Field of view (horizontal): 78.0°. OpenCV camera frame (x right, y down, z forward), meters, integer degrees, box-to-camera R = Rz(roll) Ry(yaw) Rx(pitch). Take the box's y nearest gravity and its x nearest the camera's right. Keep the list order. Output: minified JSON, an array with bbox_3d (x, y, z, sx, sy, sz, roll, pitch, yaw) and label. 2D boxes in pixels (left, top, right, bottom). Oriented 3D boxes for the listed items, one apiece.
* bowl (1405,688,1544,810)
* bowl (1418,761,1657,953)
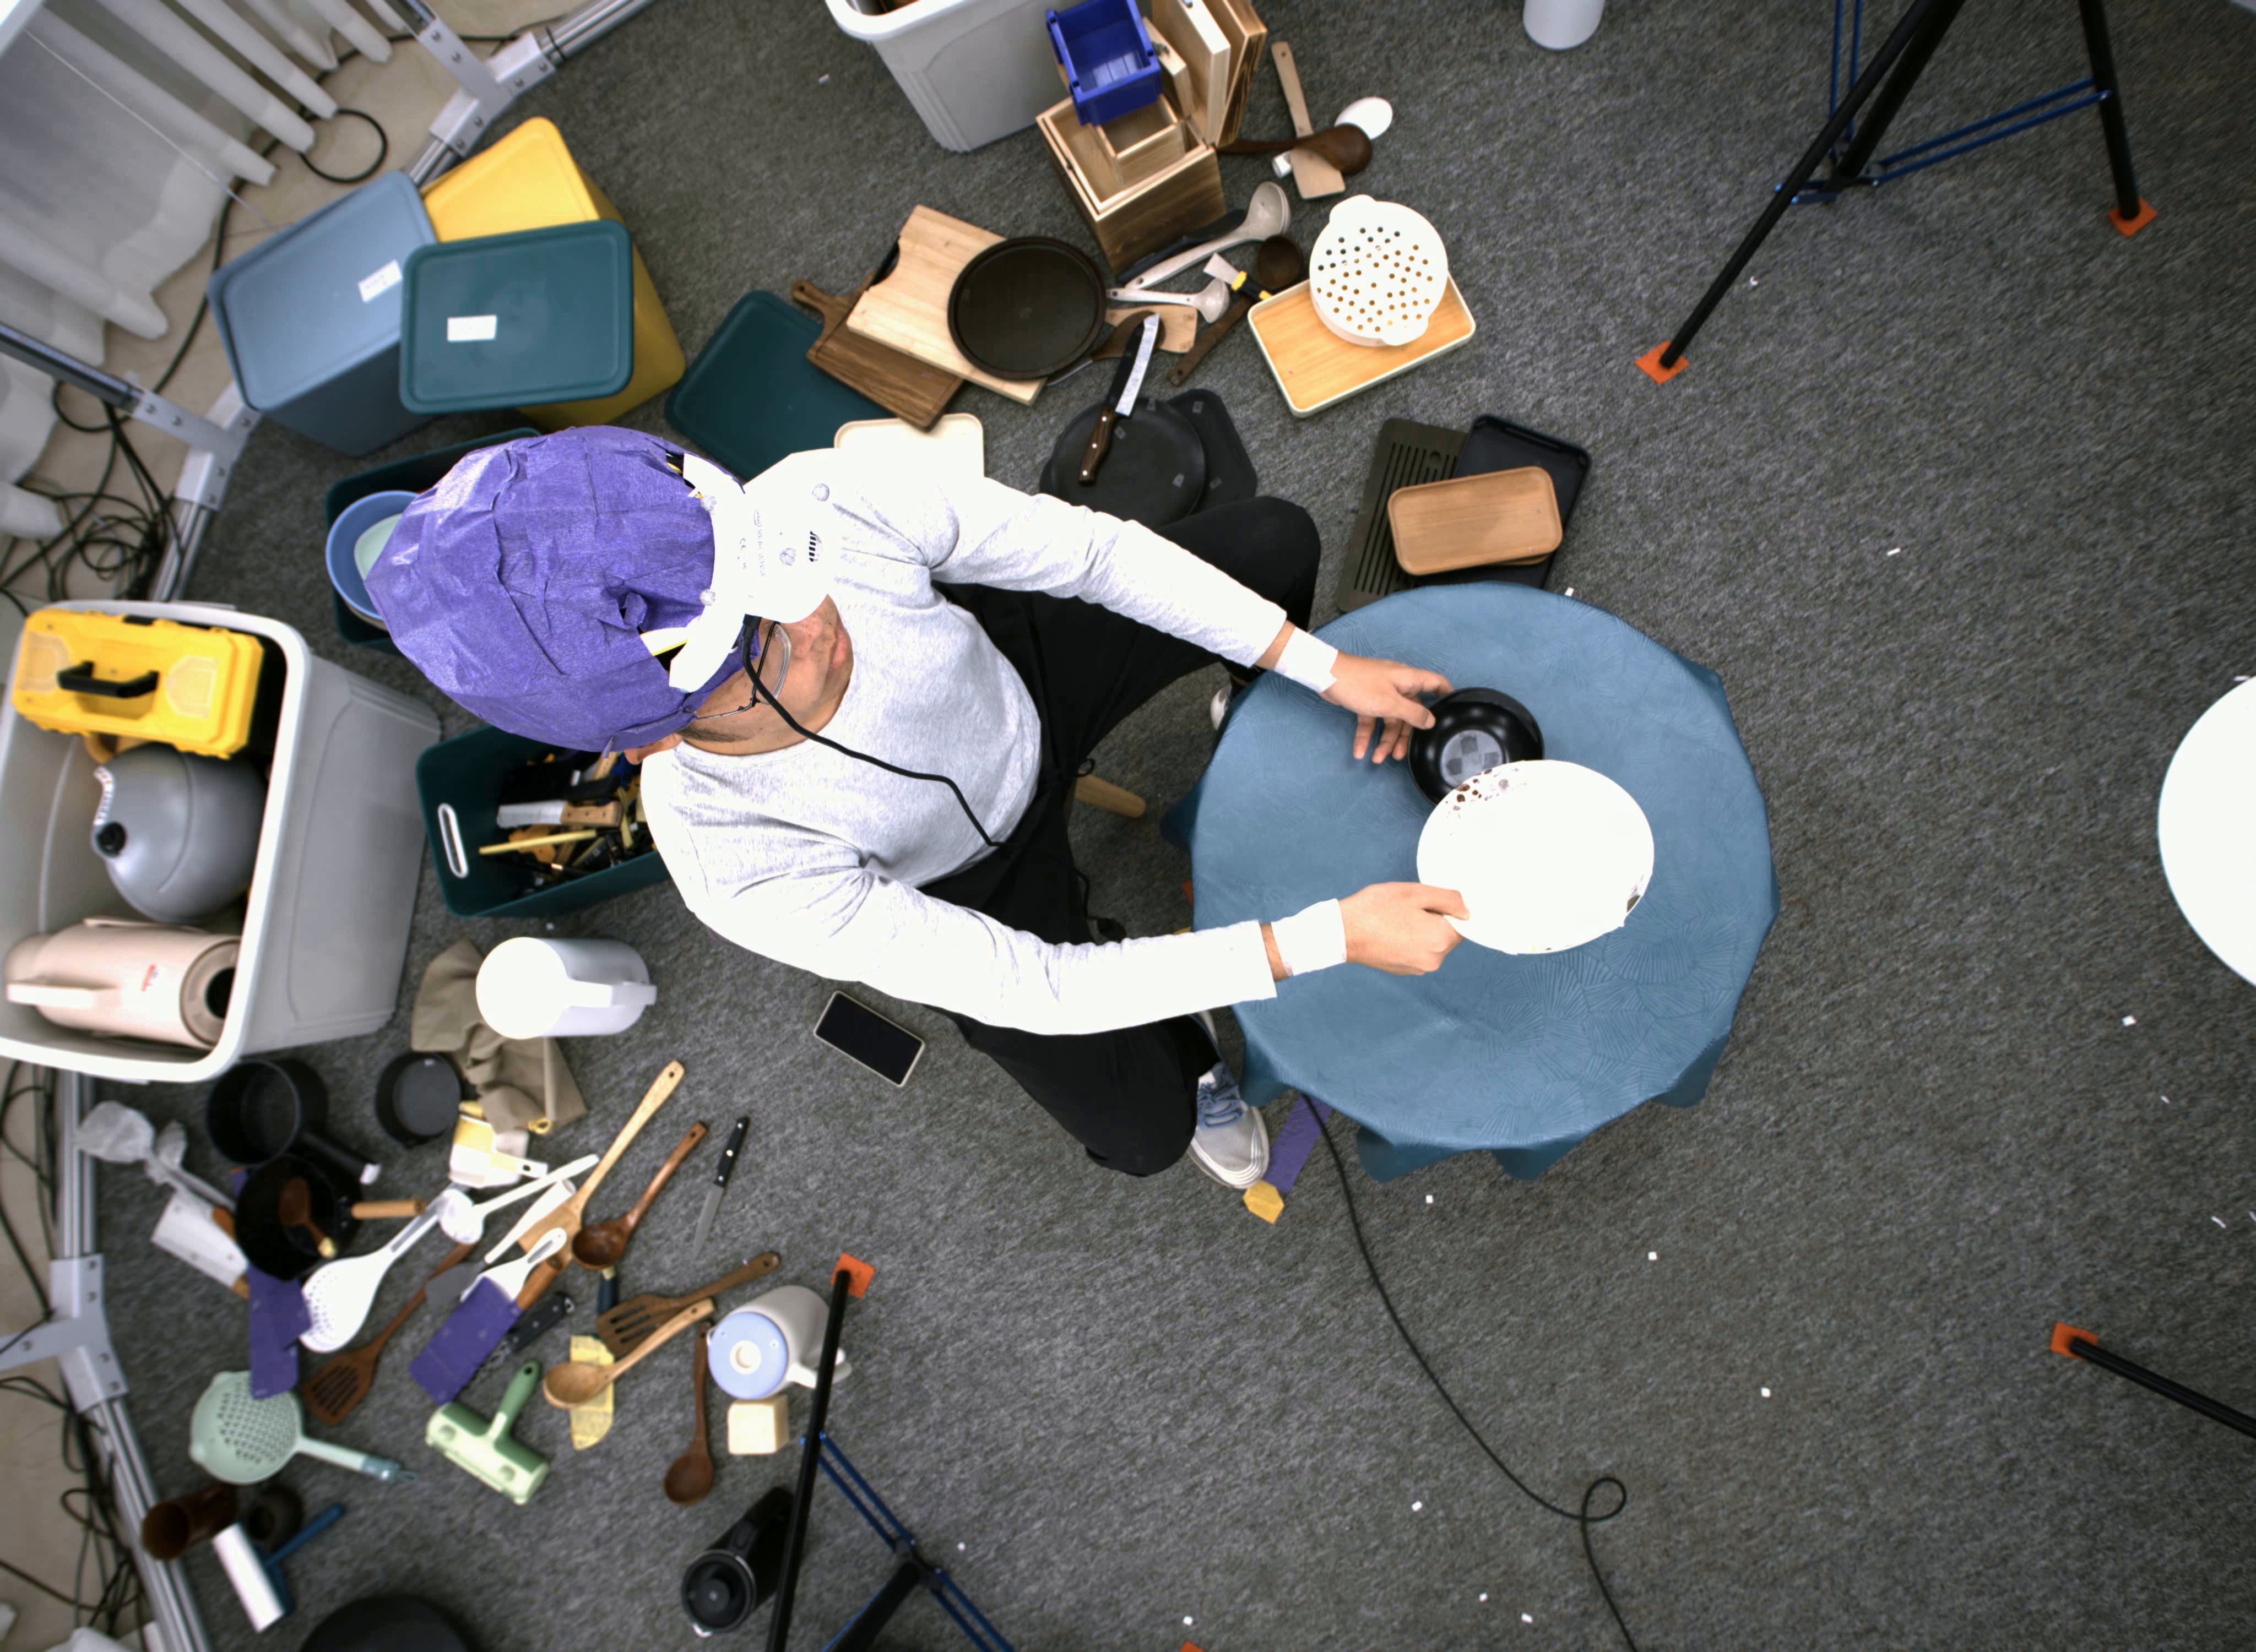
[{"bbox_3d":[0.360,-0.073,1.430,0.141,0.050,0.139,-2,84,15],"label":"bowl"},{"bbox_3d":[0.367,0.042,1.235,0.205,0.079,0.199,-10,54,14],"label":"bowl"}]
